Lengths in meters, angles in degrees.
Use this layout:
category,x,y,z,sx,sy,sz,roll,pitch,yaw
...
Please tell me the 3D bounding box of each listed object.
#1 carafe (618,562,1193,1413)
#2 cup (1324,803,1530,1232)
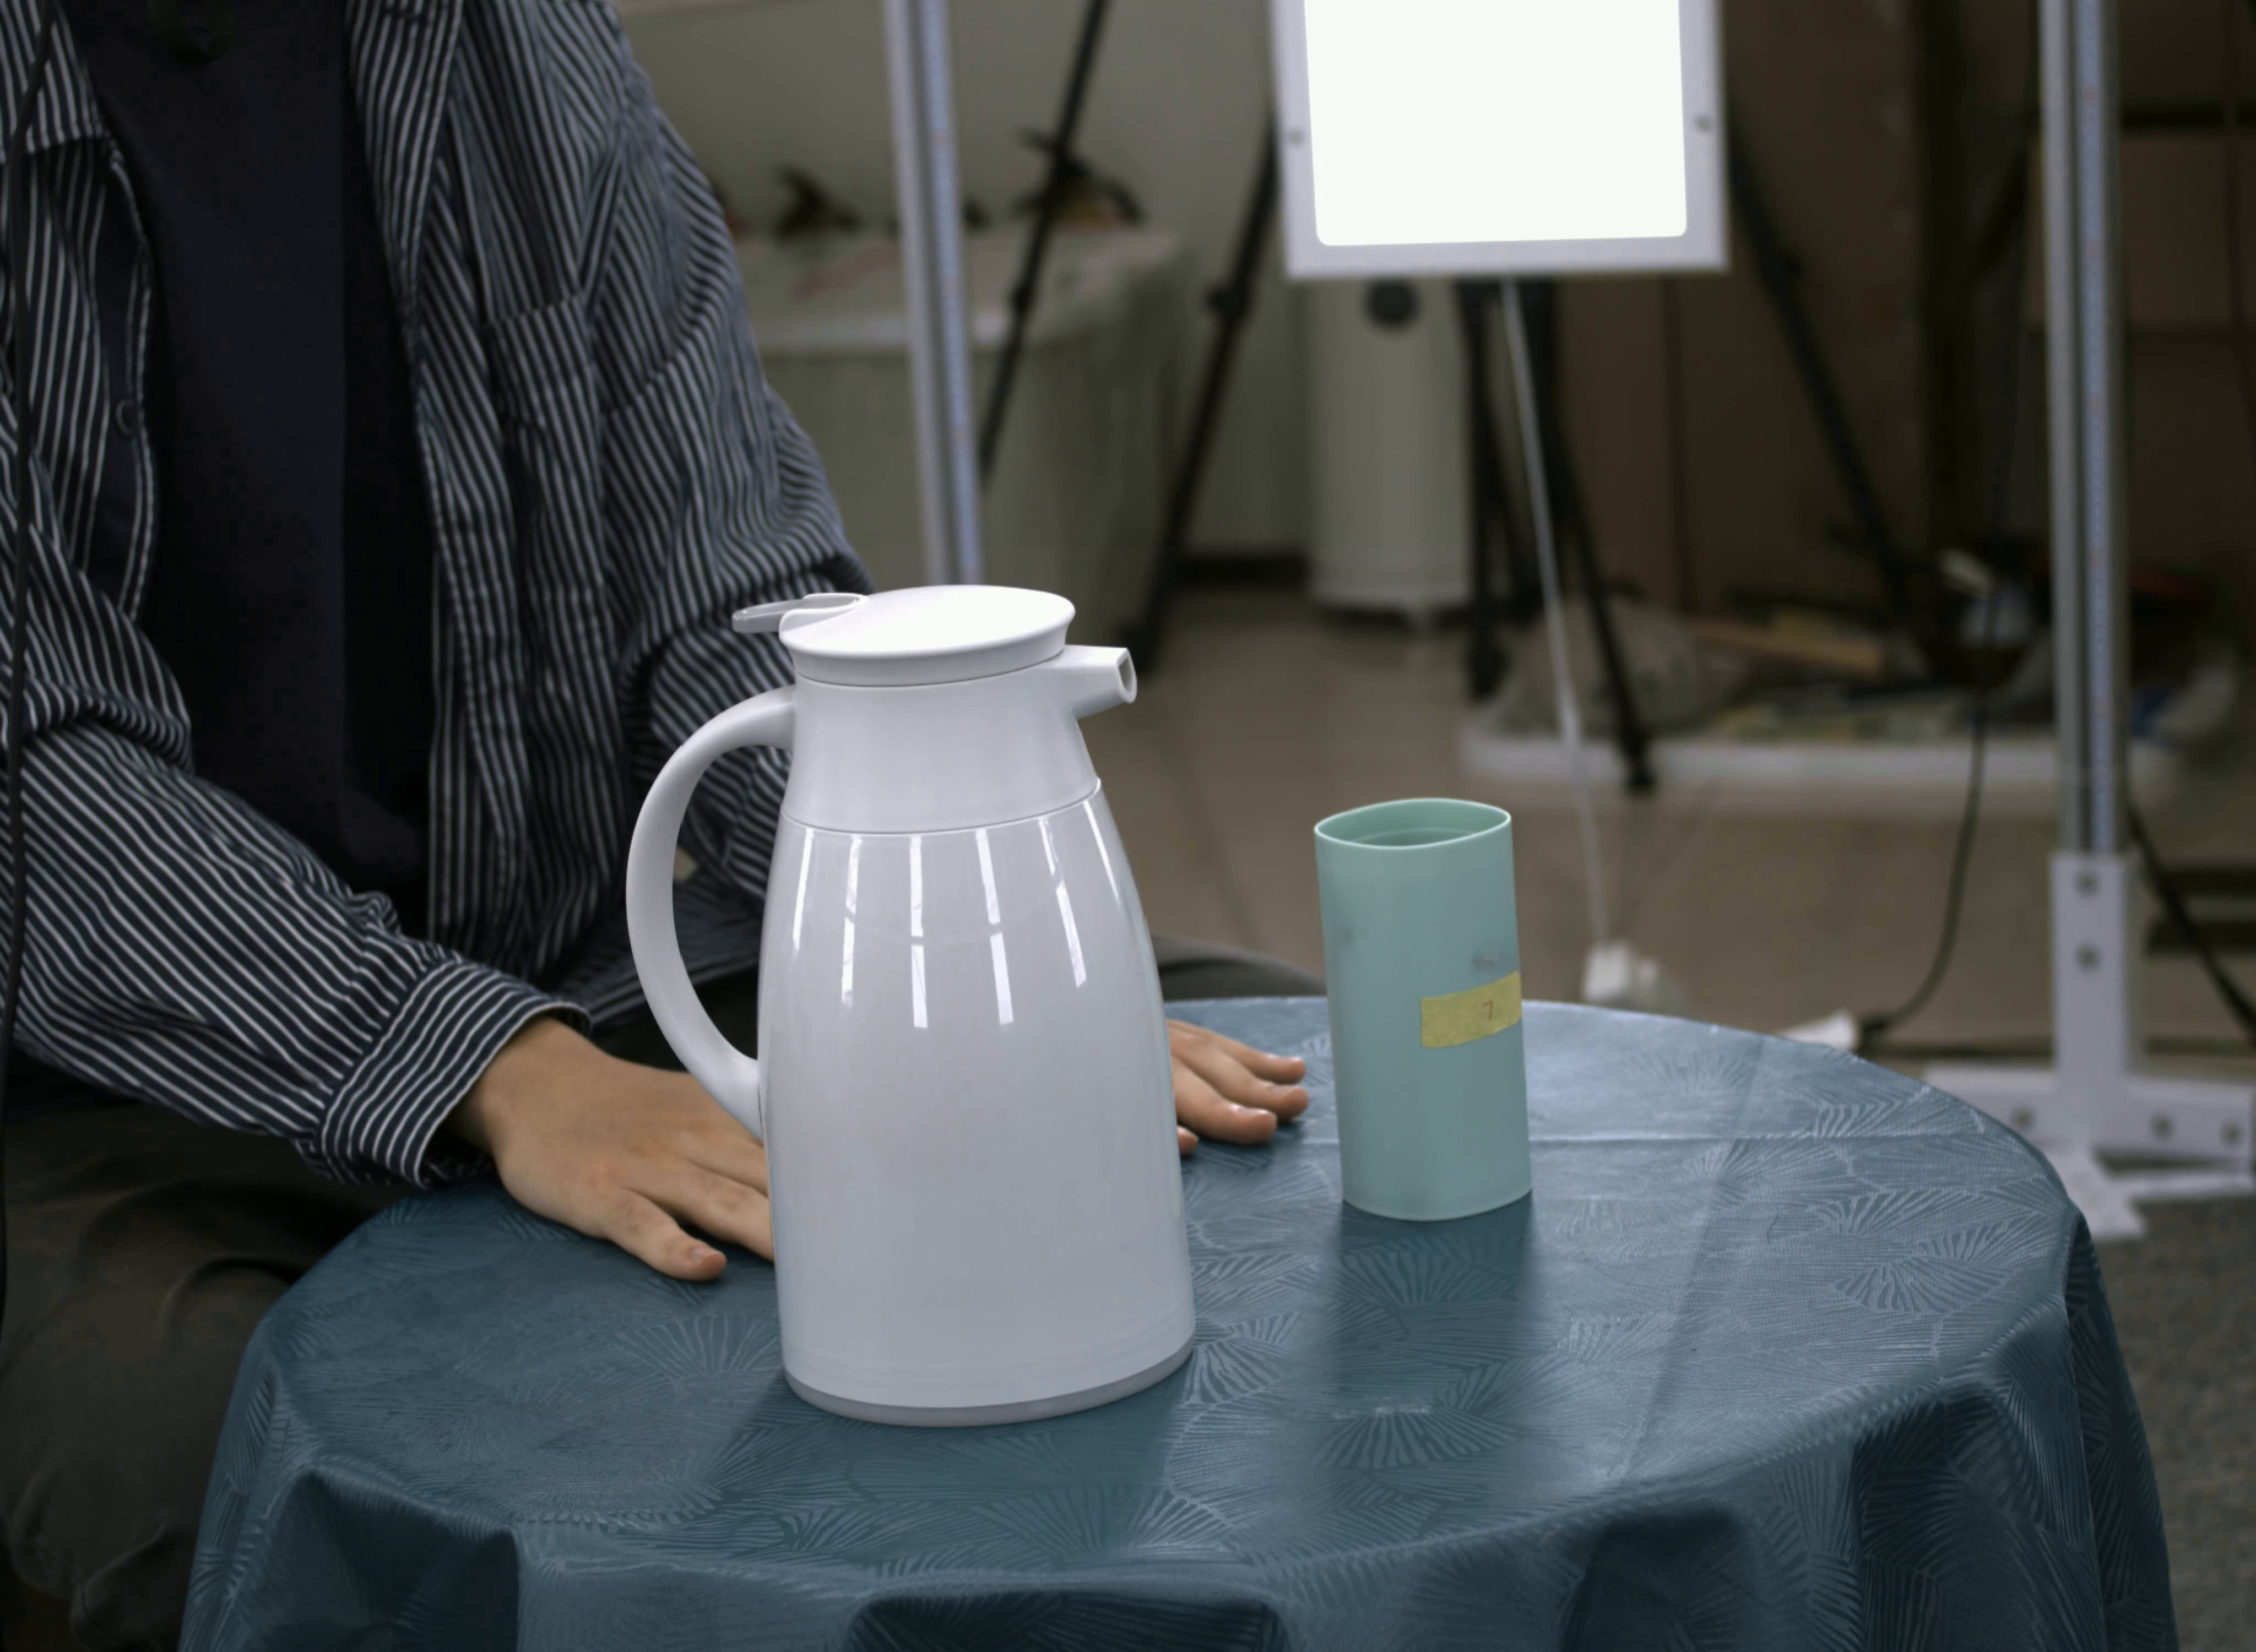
category,x,y,z,sx,sy,sz,roll,pitch,yaw
carafe,-0.073,0.044,1.714,0.169,0.249,0.131,-3,14,11
cup,0.101,0.063,1.847,0.066,0.133,0.066,-3,15,-1
